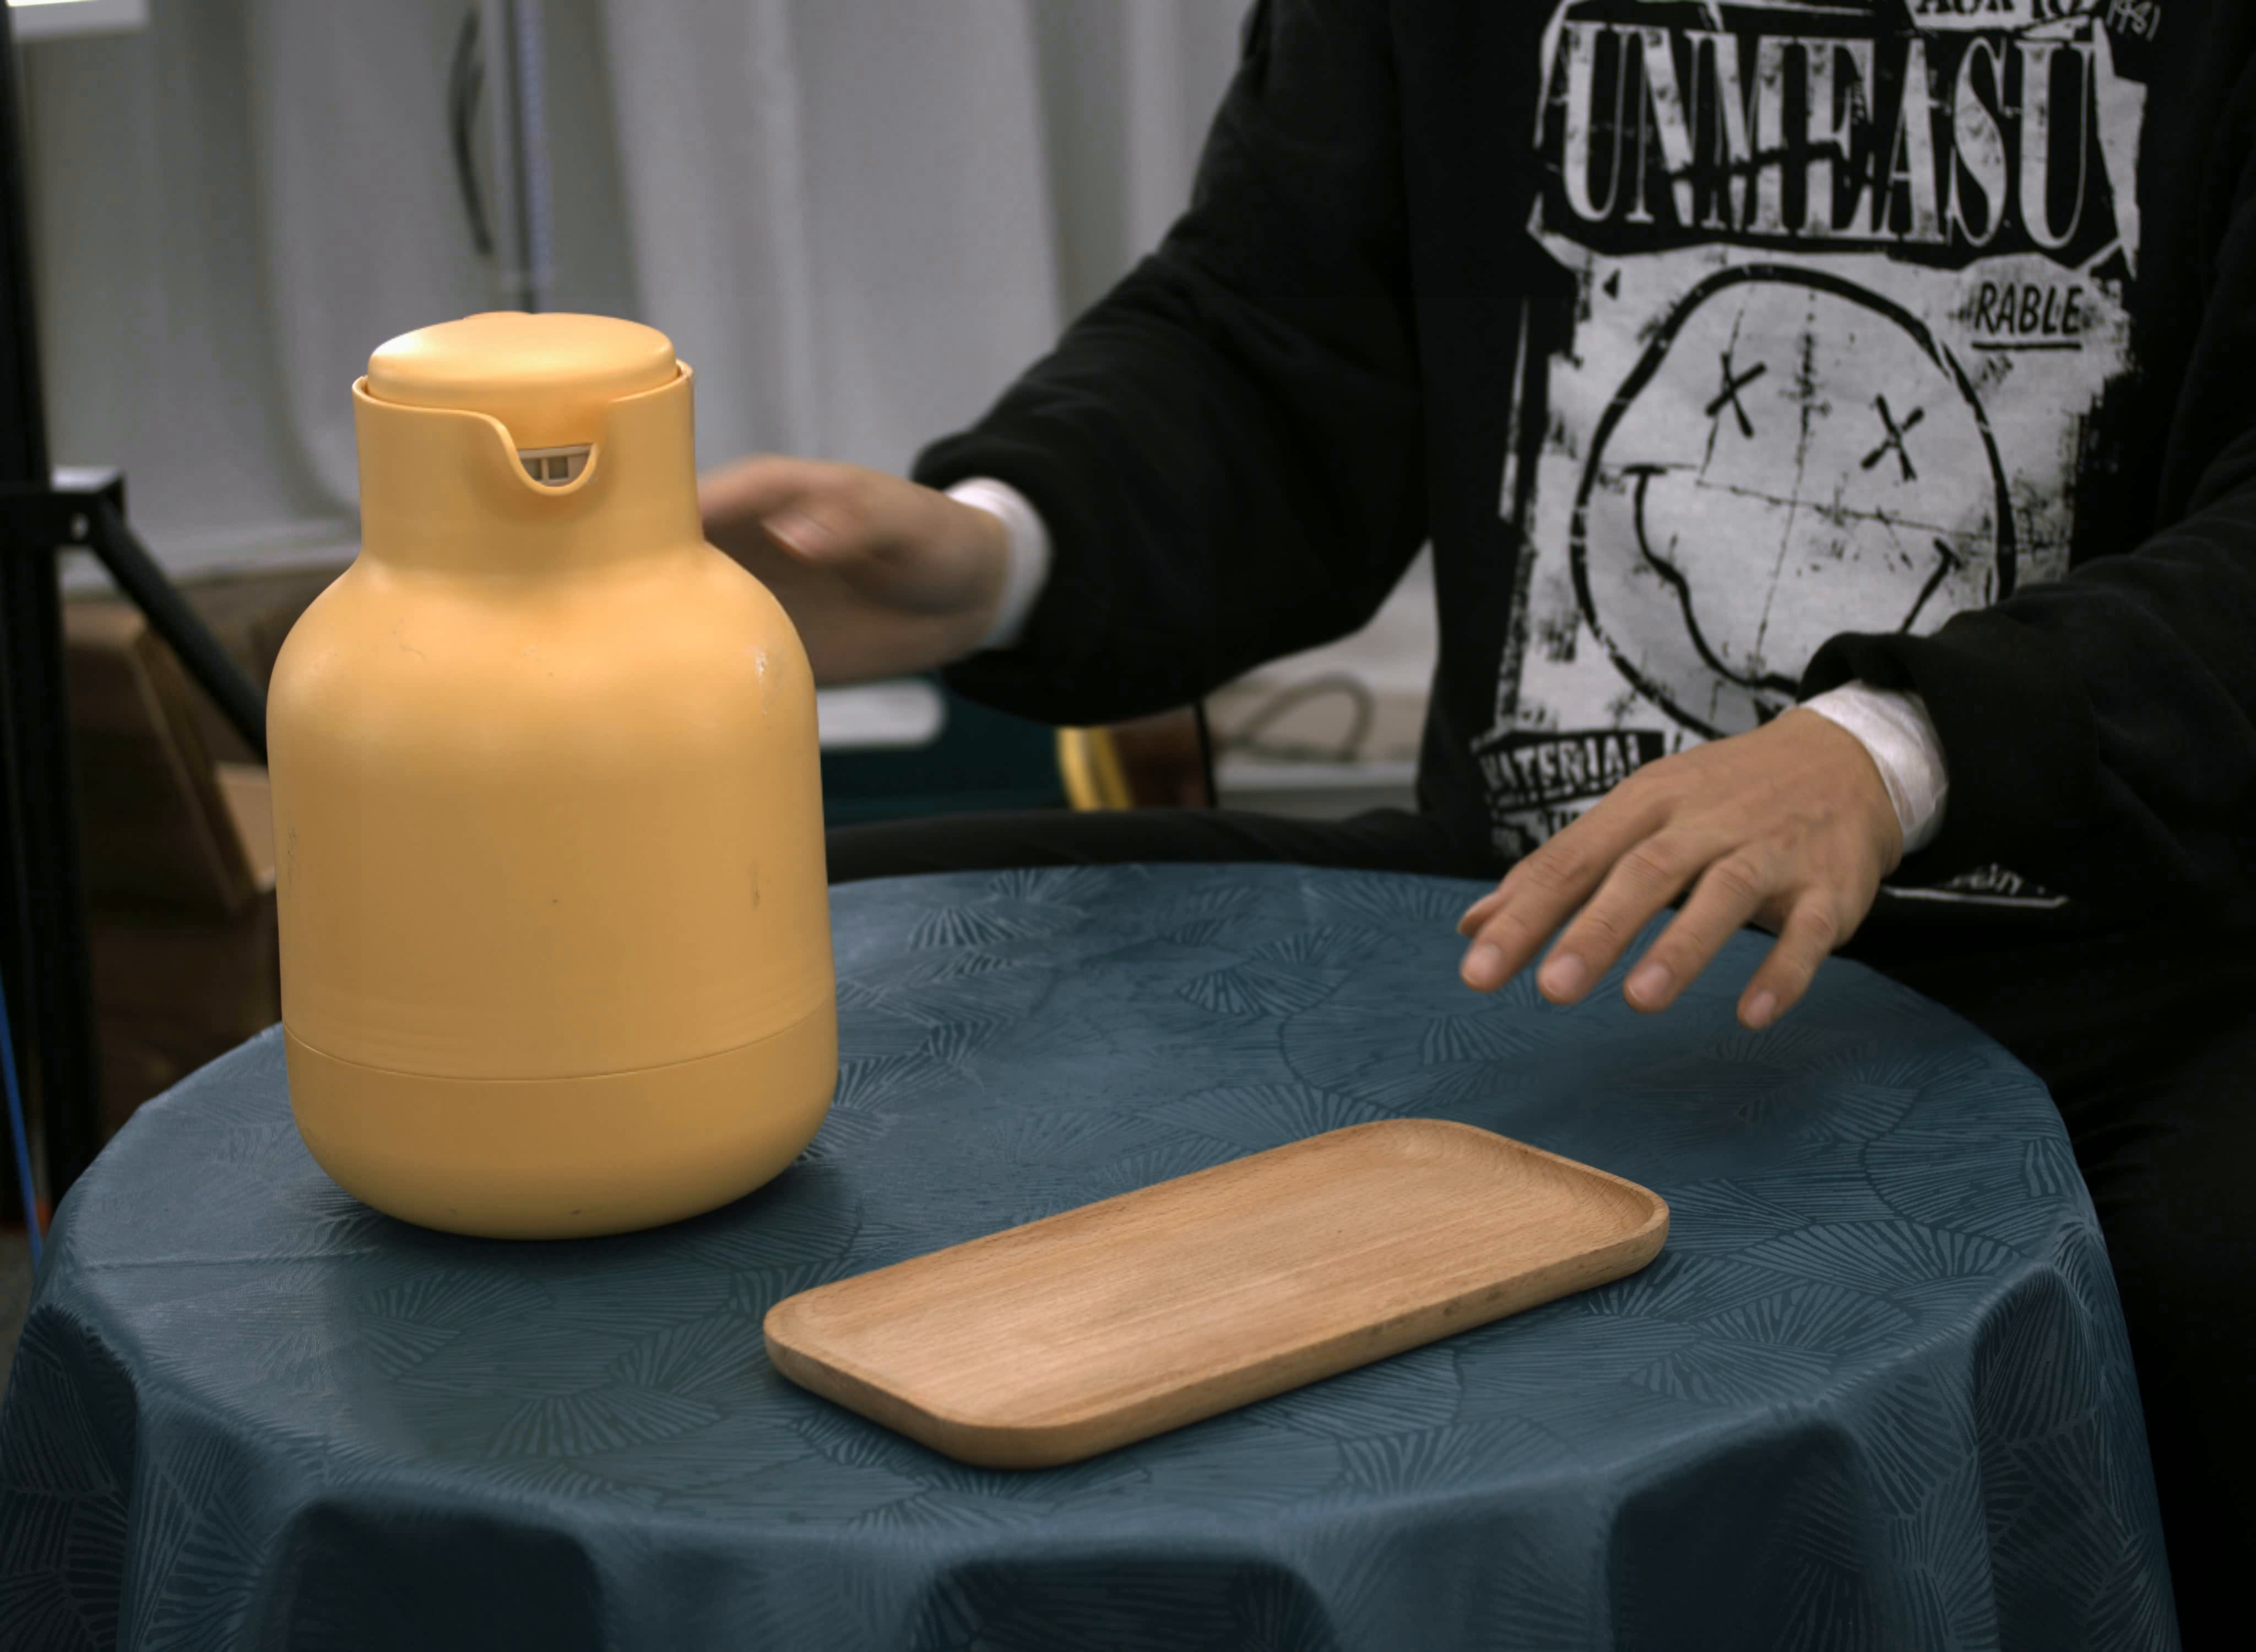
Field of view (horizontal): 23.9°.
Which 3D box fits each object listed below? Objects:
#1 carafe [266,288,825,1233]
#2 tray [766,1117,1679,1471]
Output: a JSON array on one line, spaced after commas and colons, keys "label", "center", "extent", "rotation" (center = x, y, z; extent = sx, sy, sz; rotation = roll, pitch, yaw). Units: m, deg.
[{"label": "carafe", "center": [-0.173, -0.027, 1.578], "extent": [0.161, 0.260, 0.205], "rotation": [-2, 17, -9]}, {"label": "tray", "center": [0.029, 0.126, 1.455], "extent": [0.245, 0.023, 0.133], "rotation": [-13, 21, -34]}]
